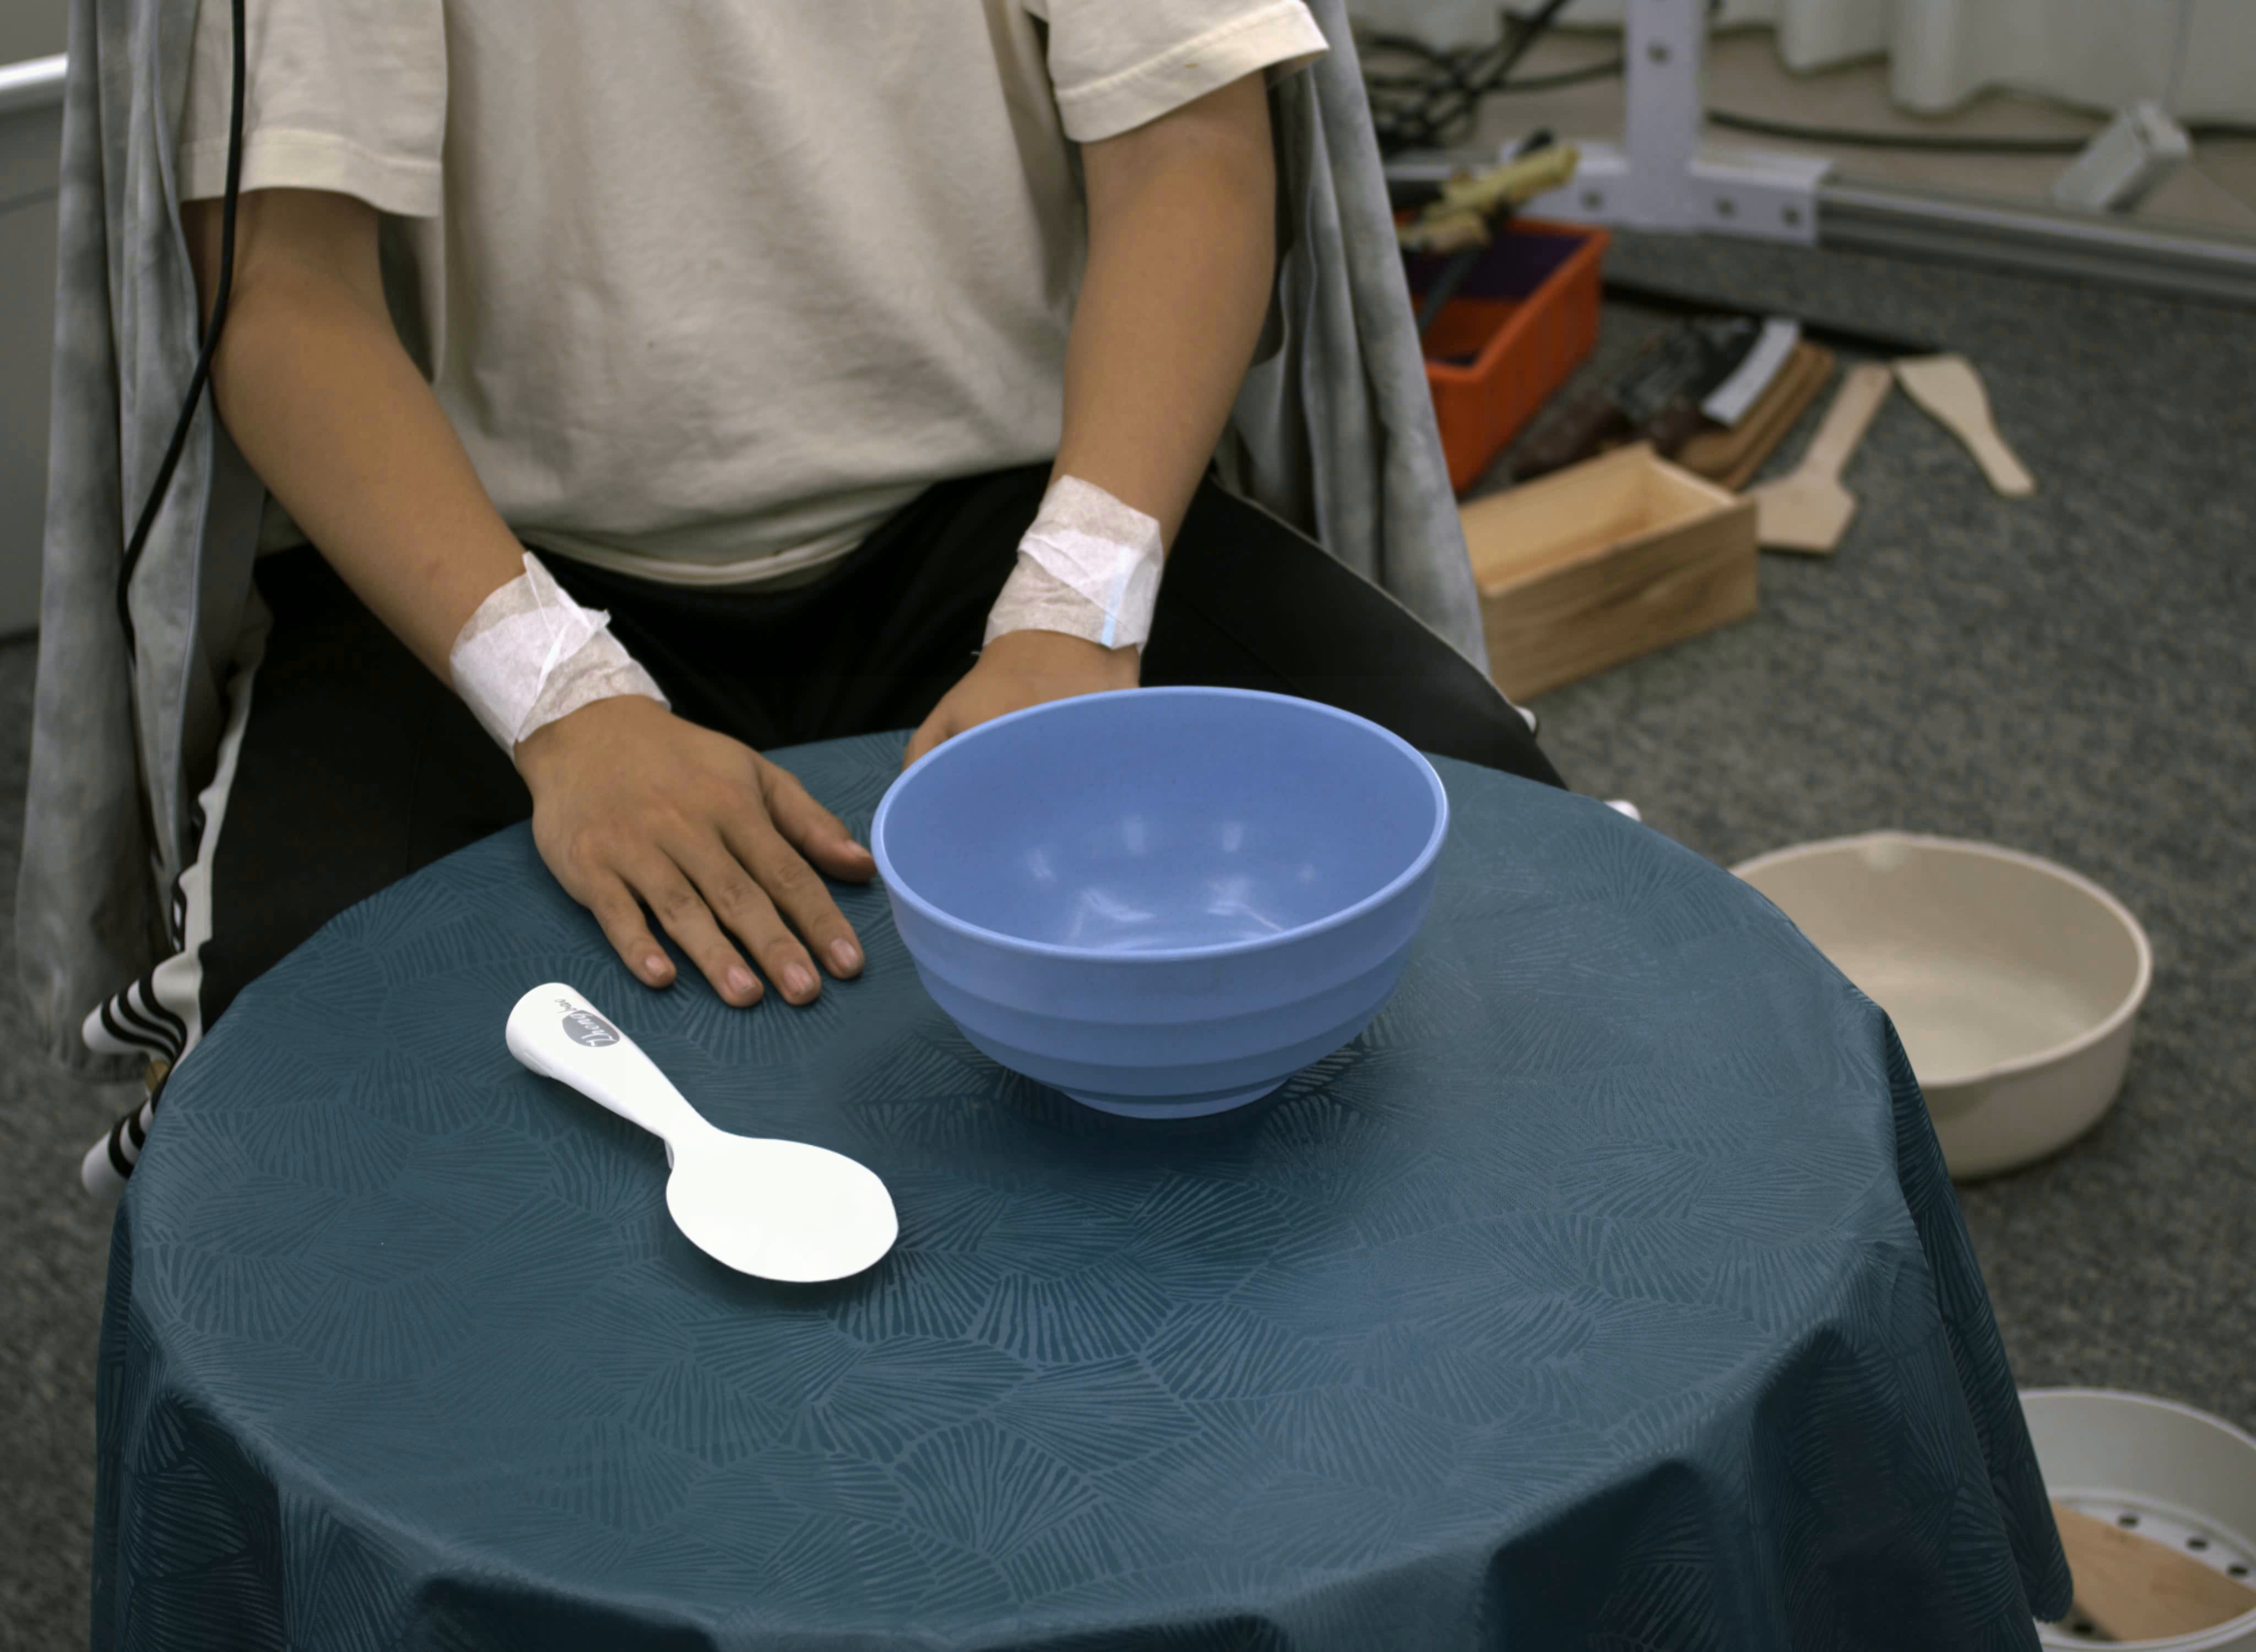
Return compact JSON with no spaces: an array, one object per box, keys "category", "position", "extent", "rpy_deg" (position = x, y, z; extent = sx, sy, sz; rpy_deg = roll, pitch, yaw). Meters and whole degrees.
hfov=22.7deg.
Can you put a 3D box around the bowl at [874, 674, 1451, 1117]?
[{"category":"bowl","position":[0.014,0.035,1.921],"extent":[0.195,0.094,0.199],"rpy_deg":[-2,29,2]}]

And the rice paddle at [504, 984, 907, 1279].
[{"category":"rice paddle","position":[-0.144,0.104,1.876],"extent":[0.069,0.029,0.205],"rpy_deg":[-22,33,-29]}]
